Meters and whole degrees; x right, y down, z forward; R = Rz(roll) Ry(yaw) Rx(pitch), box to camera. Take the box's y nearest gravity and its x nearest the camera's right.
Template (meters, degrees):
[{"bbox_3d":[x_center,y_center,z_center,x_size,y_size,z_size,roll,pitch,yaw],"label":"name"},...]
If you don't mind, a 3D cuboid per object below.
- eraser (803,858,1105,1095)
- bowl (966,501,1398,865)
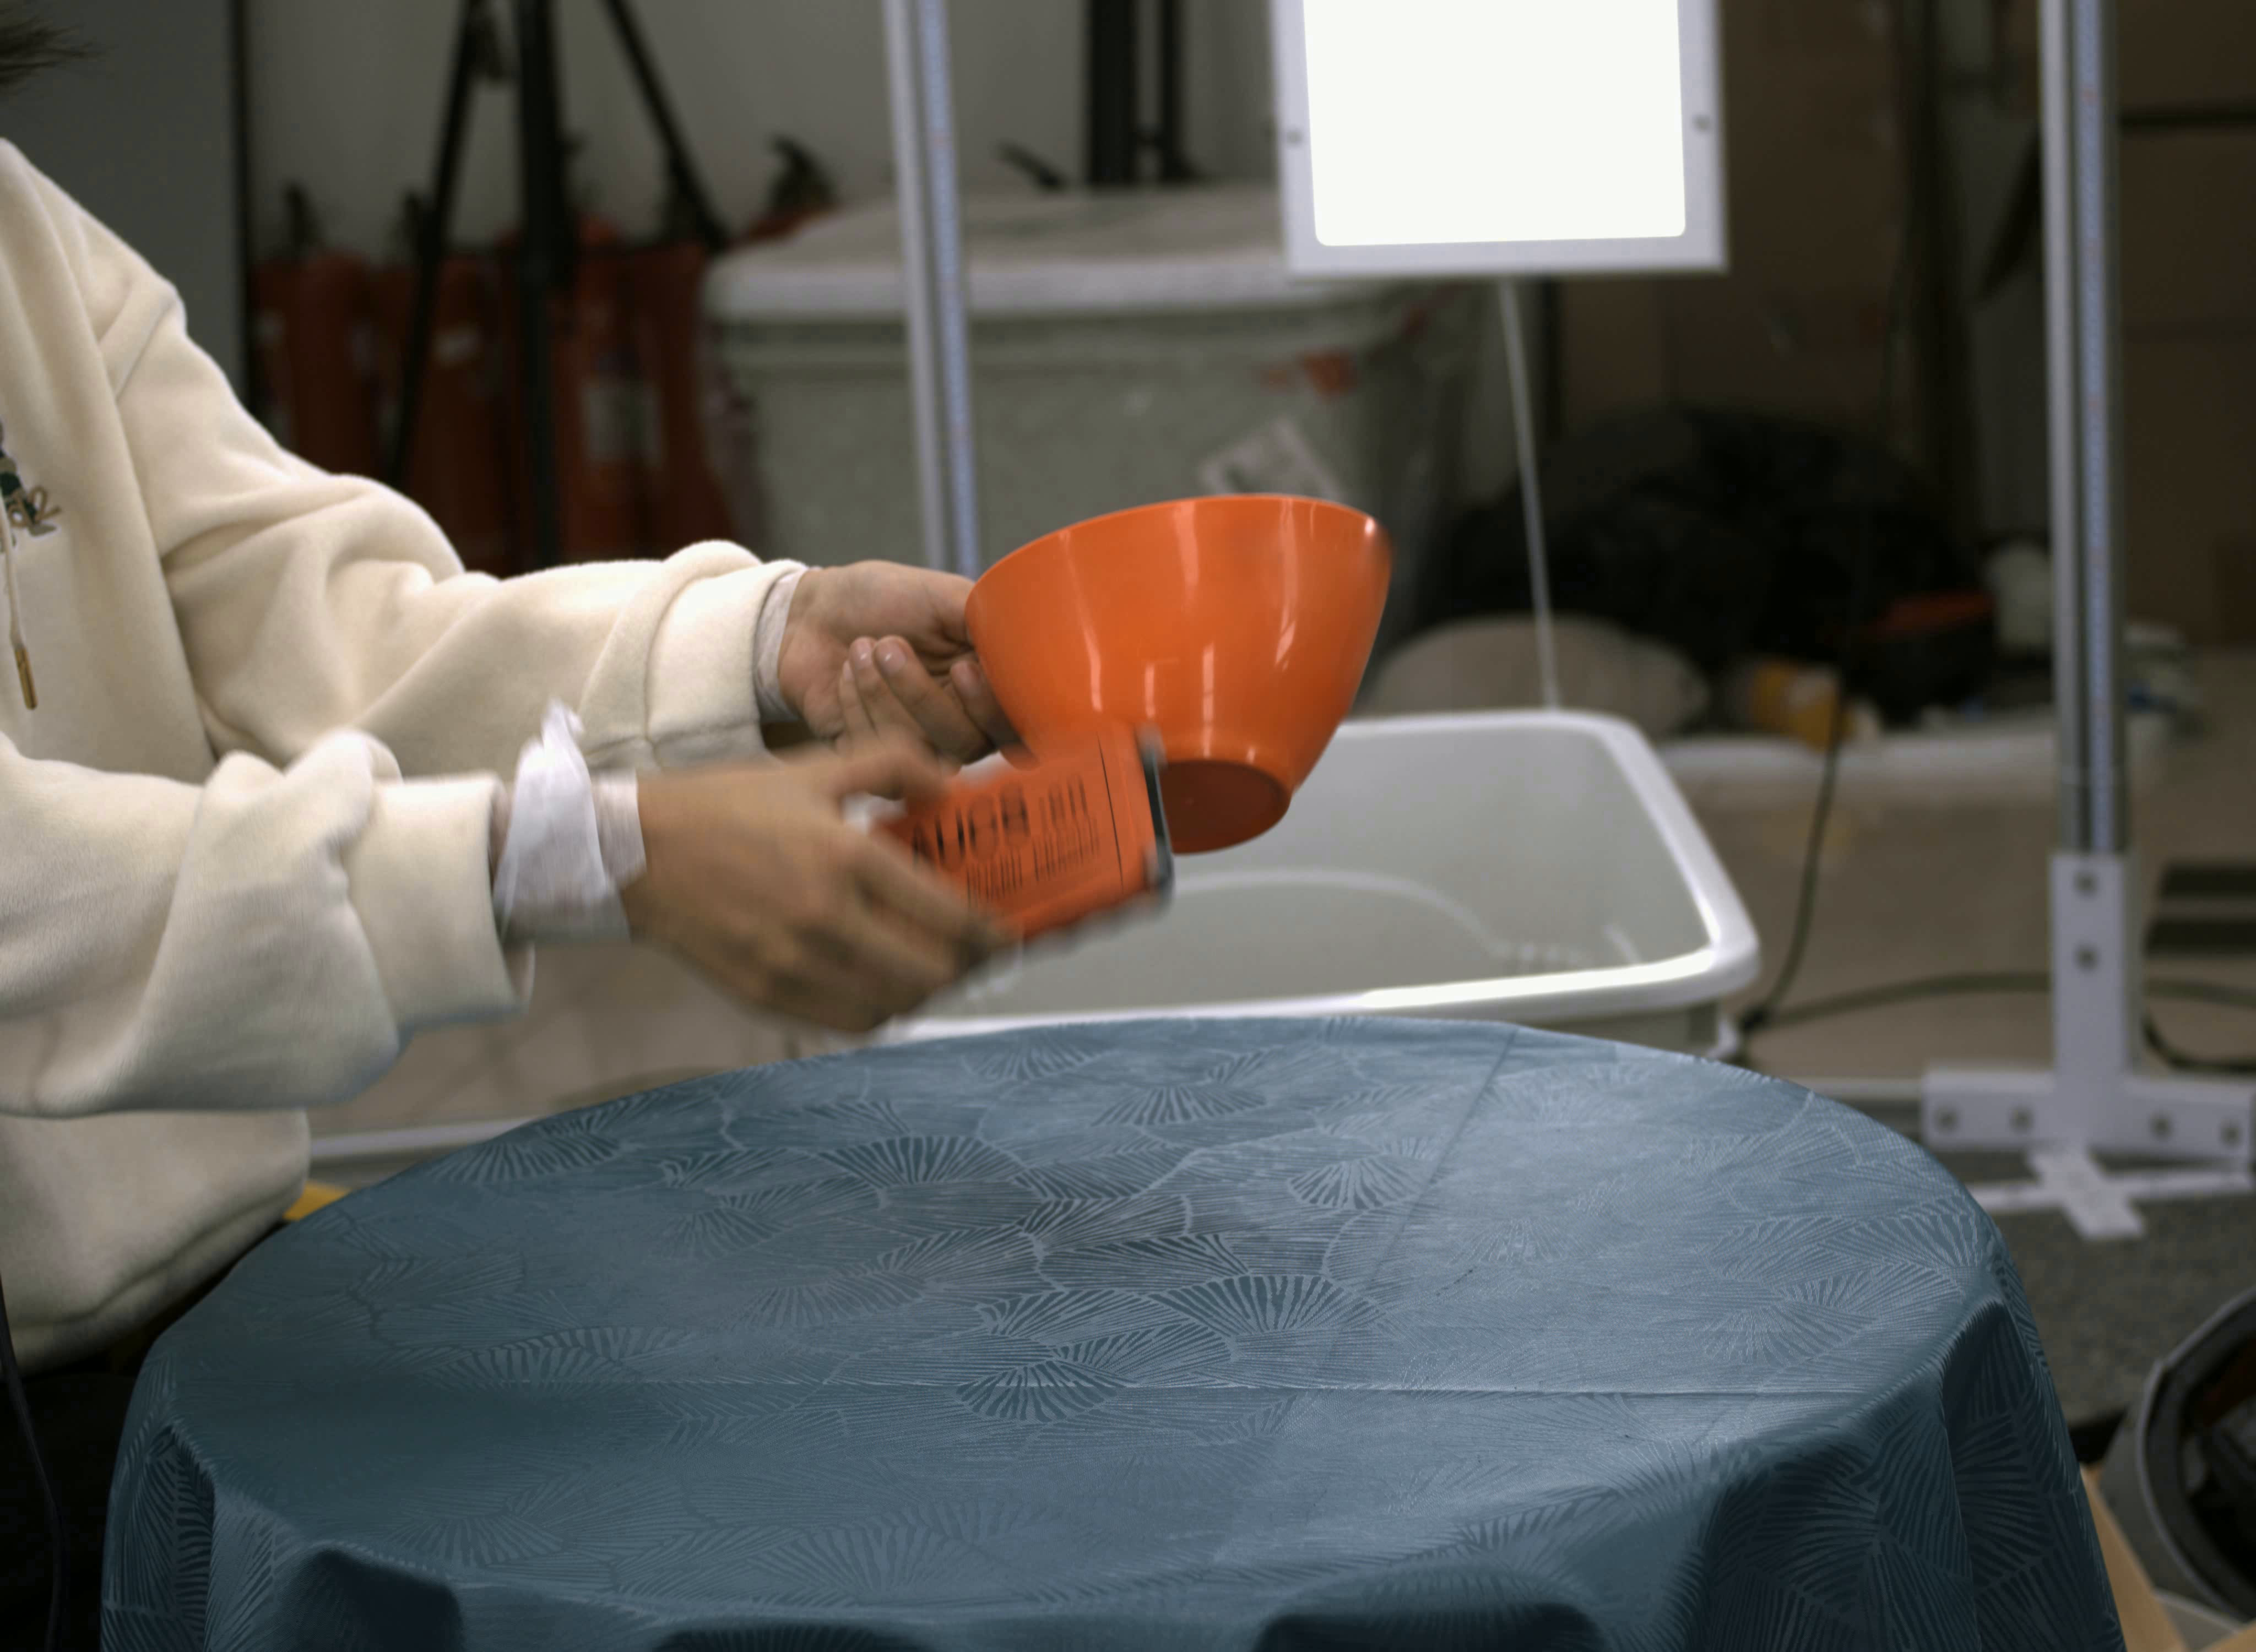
[{"bbox_3d":[-0.056,0.048,1.749,0.110,0.059,0.022,-14,-23,37],"label":"eraser"},{"bbox_3d":[0.021,-0.043,1.839,0.147,0.104,0.149,-2,-27,-2],"label":"bowl"}]
